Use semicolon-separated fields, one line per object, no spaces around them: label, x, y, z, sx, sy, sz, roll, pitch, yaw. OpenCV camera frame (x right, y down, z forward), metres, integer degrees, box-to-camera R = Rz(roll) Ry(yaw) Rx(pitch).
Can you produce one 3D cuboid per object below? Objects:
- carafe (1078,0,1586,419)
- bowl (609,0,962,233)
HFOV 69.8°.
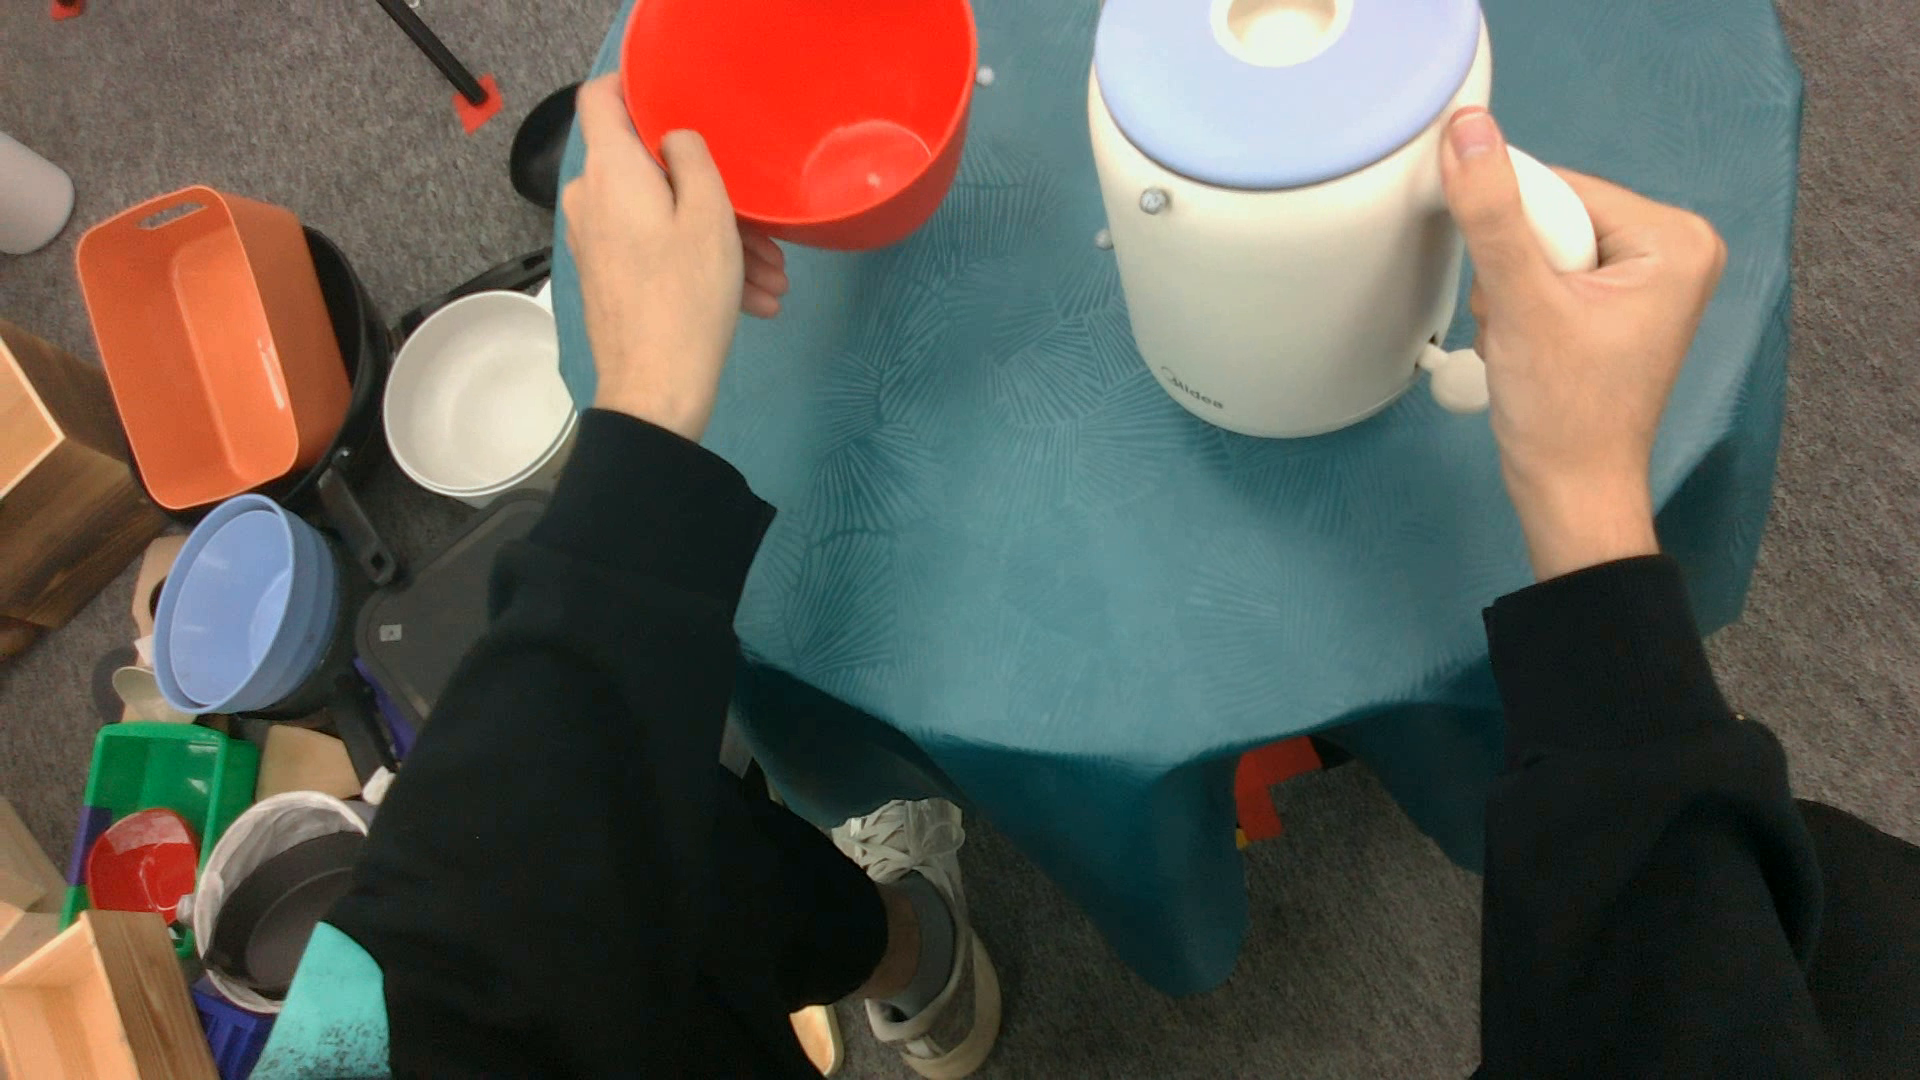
carafe;0.135;-0.124;0.505;0.191;0.182;0.132;34;80;21
bowl;-0.065;-0.197;0.606;0.148;0.104;0.148;-3;72;10
